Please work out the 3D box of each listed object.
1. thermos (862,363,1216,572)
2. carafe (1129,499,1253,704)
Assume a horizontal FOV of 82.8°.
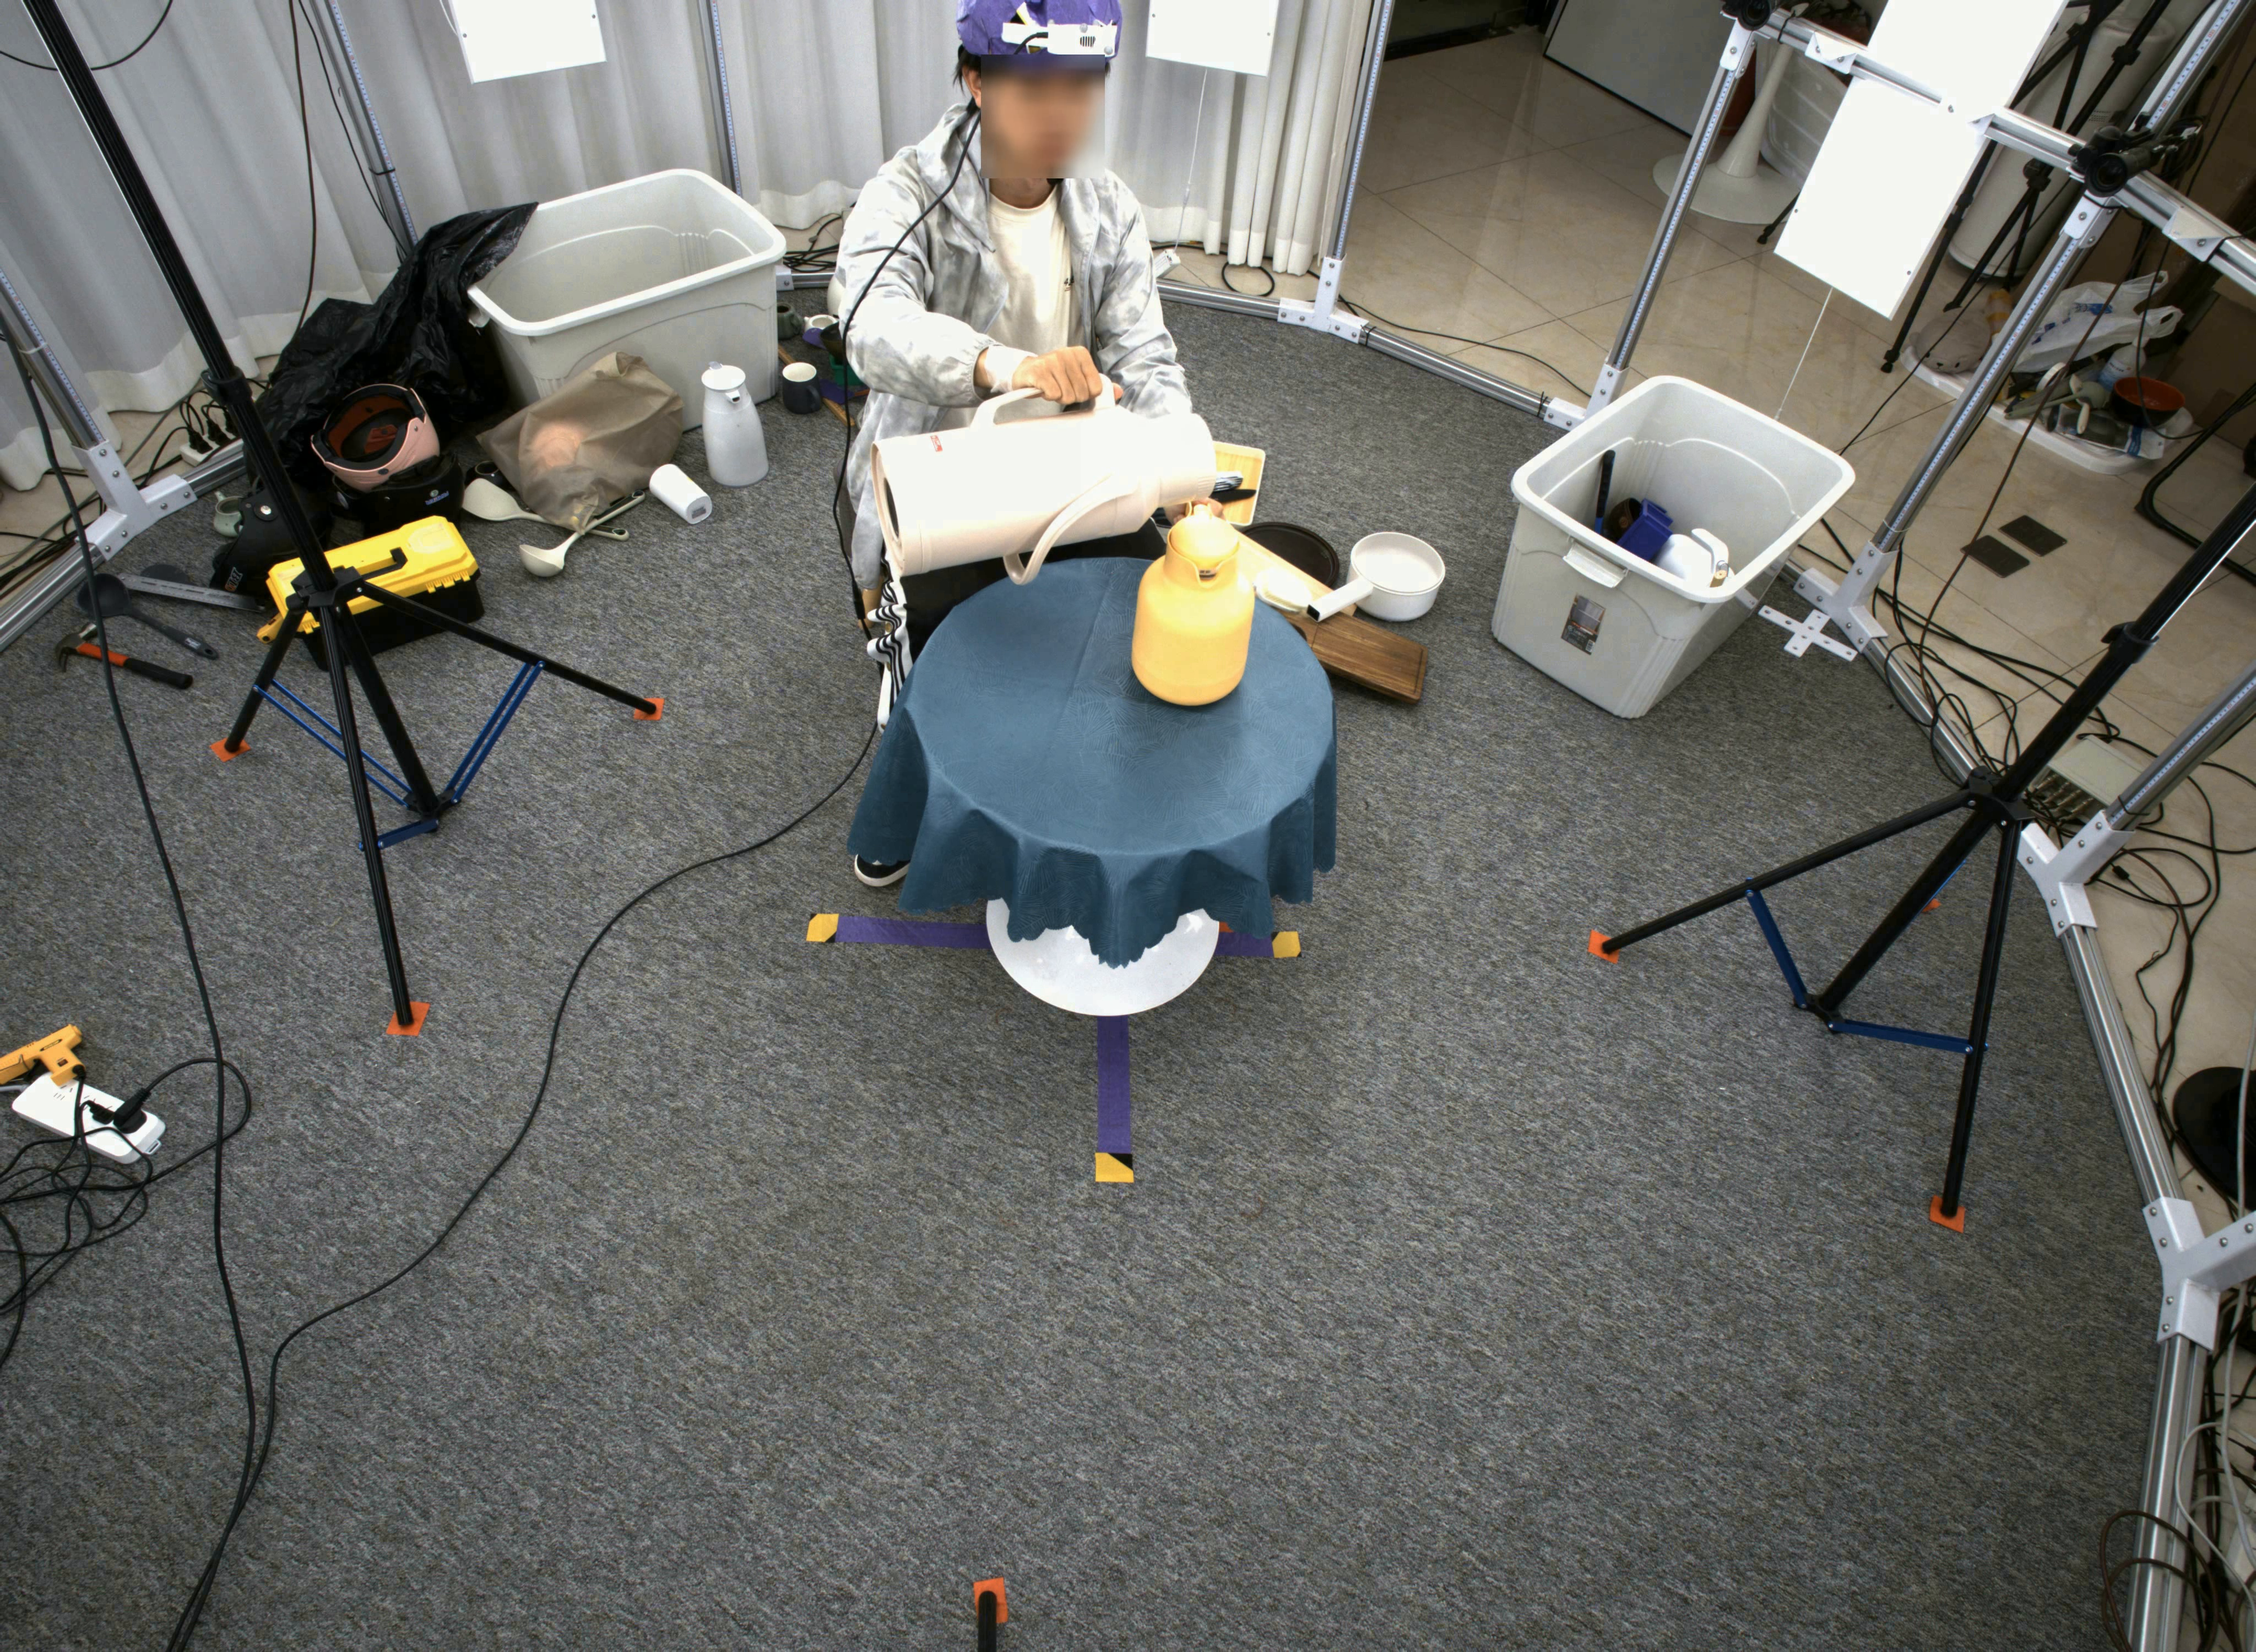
[{"bbox_3d":[-0.102,-0.431,1.542,0.406,0.203,0.178,-13,24,-14],"label":"thermos"},{"bbox_3d":[0.092,-0.317,1.774,0.163,0.254,0.207,4,50,-4],"label":"carafe"}]
